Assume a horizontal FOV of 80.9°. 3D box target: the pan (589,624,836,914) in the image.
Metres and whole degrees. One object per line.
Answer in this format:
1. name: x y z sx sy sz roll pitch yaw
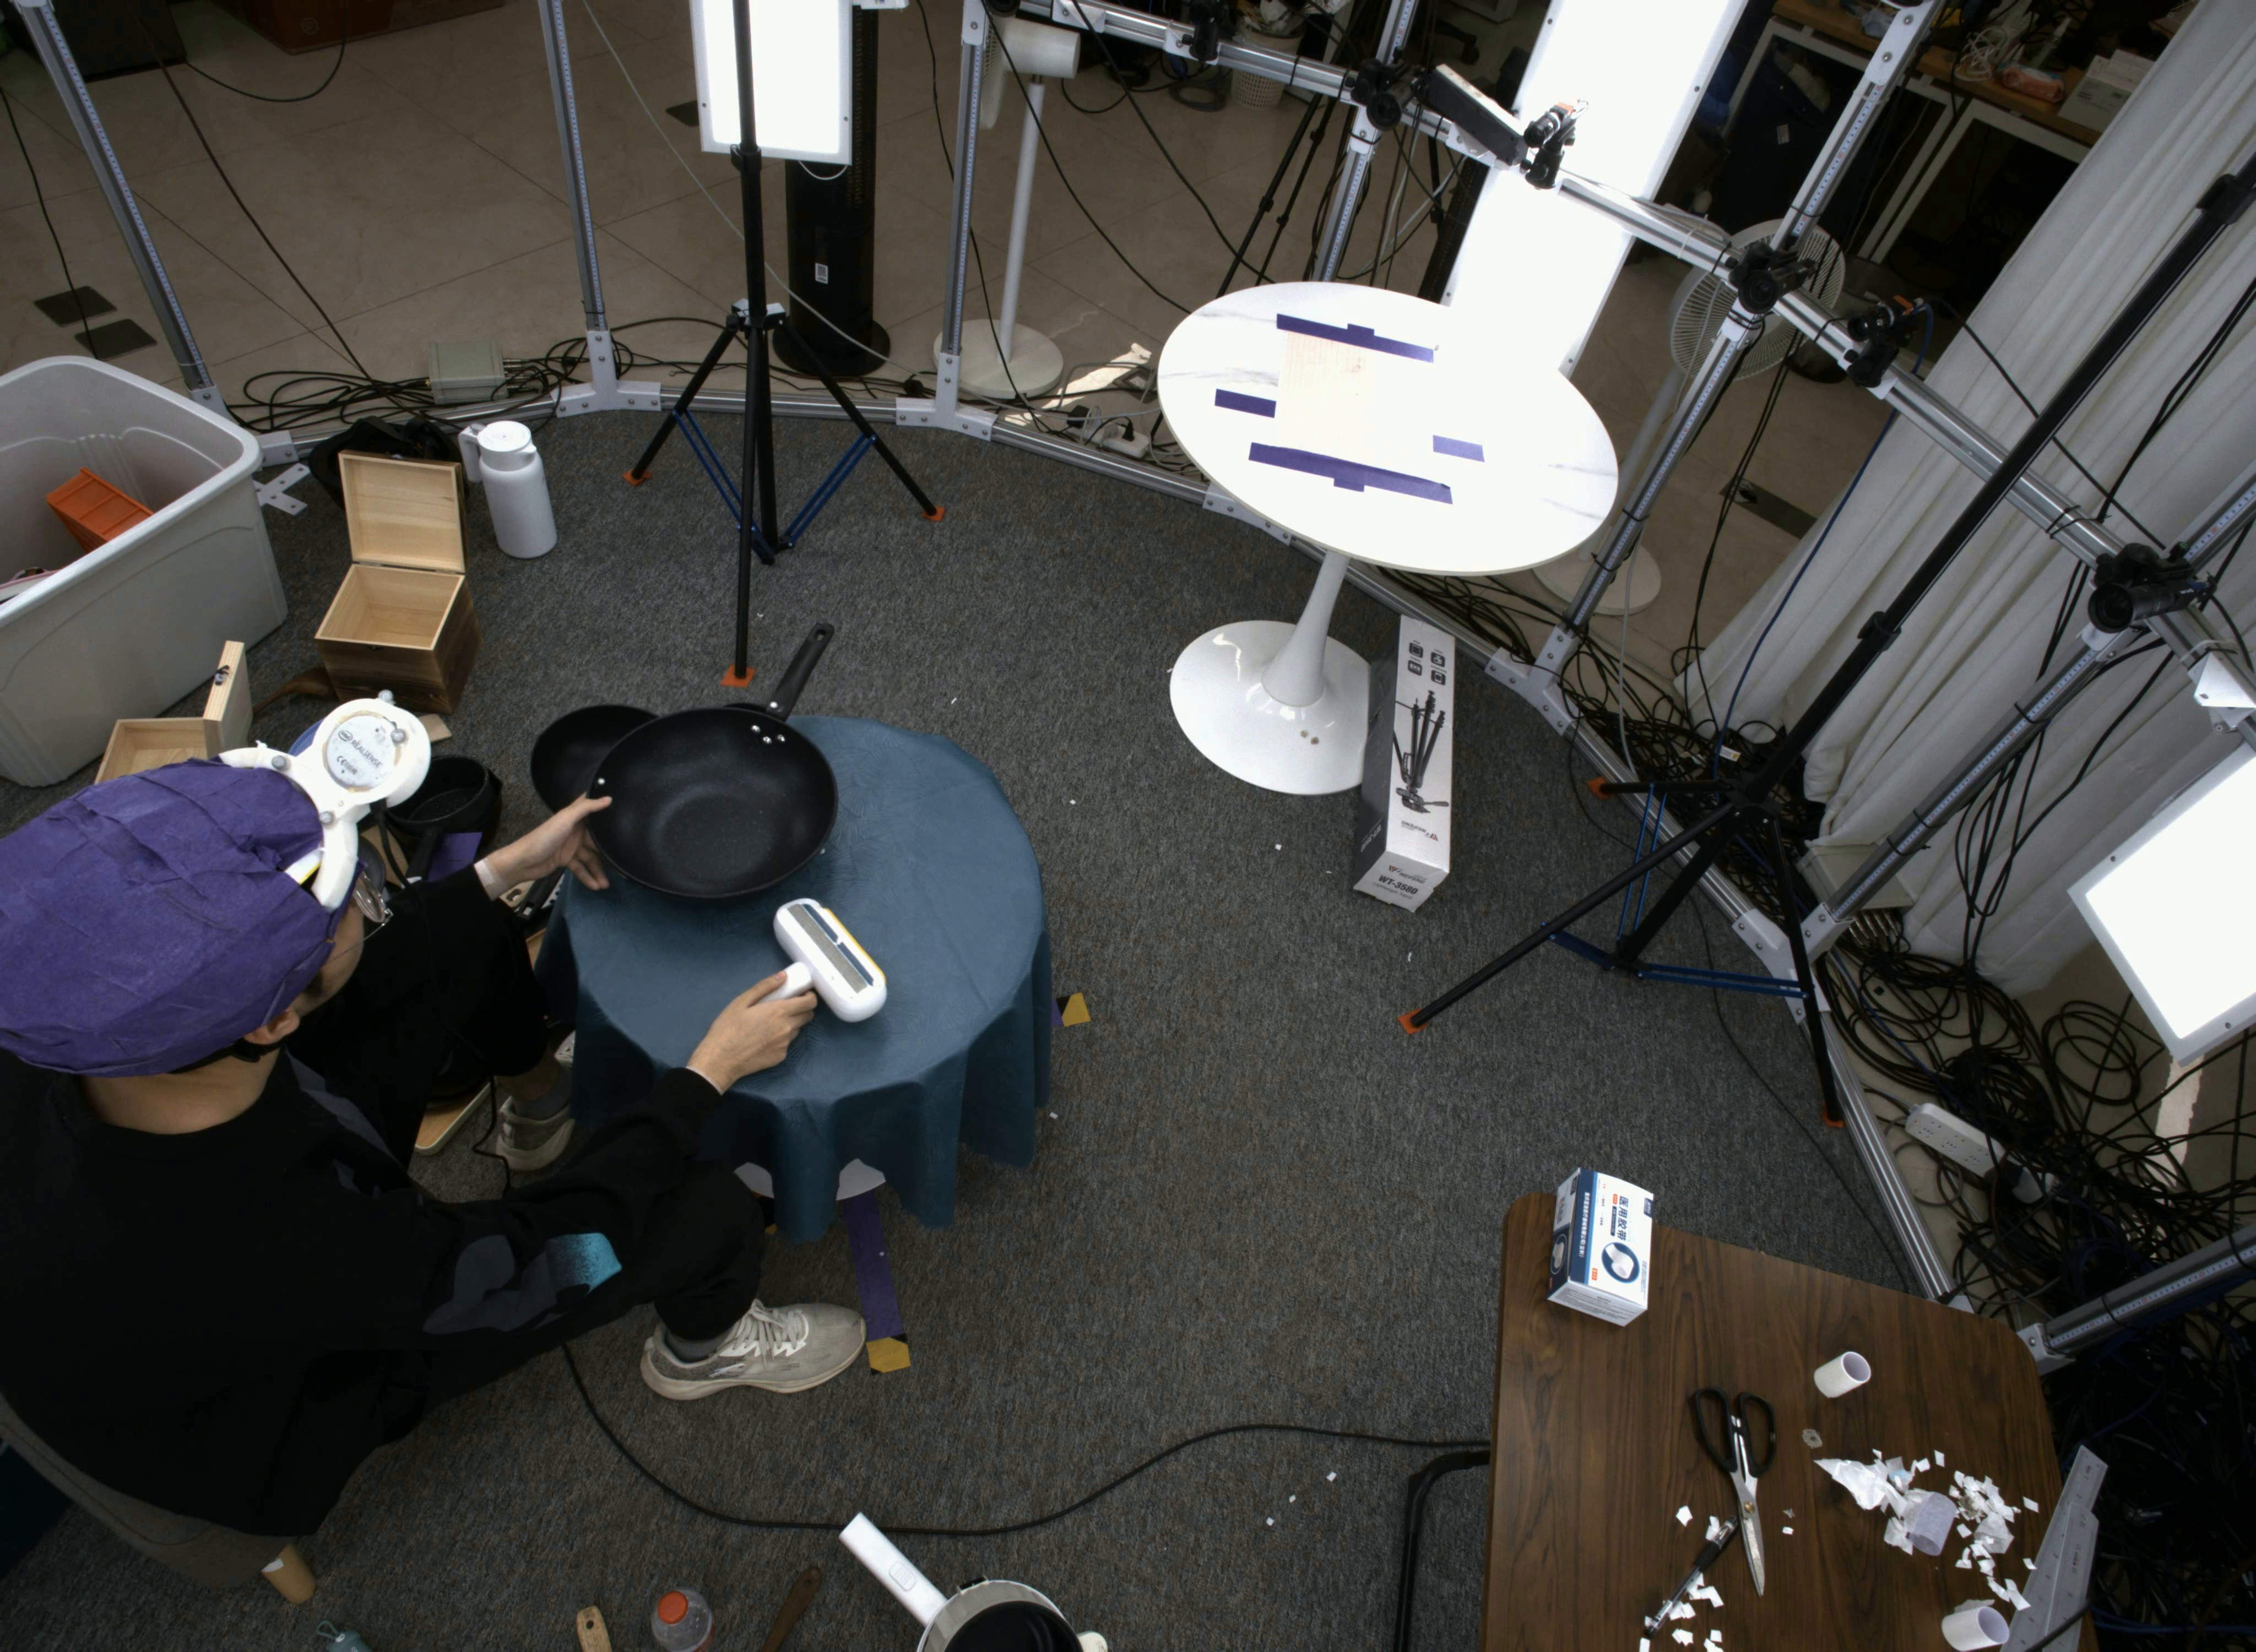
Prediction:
1. pan: -0.503 -0.074 1.694 0.308 0.113 0.472 22 52 0

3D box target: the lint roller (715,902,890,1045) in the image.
1. lint roller: -0.405 0.192 1.550 0.193 0.076 0.187 -26 58 -27
